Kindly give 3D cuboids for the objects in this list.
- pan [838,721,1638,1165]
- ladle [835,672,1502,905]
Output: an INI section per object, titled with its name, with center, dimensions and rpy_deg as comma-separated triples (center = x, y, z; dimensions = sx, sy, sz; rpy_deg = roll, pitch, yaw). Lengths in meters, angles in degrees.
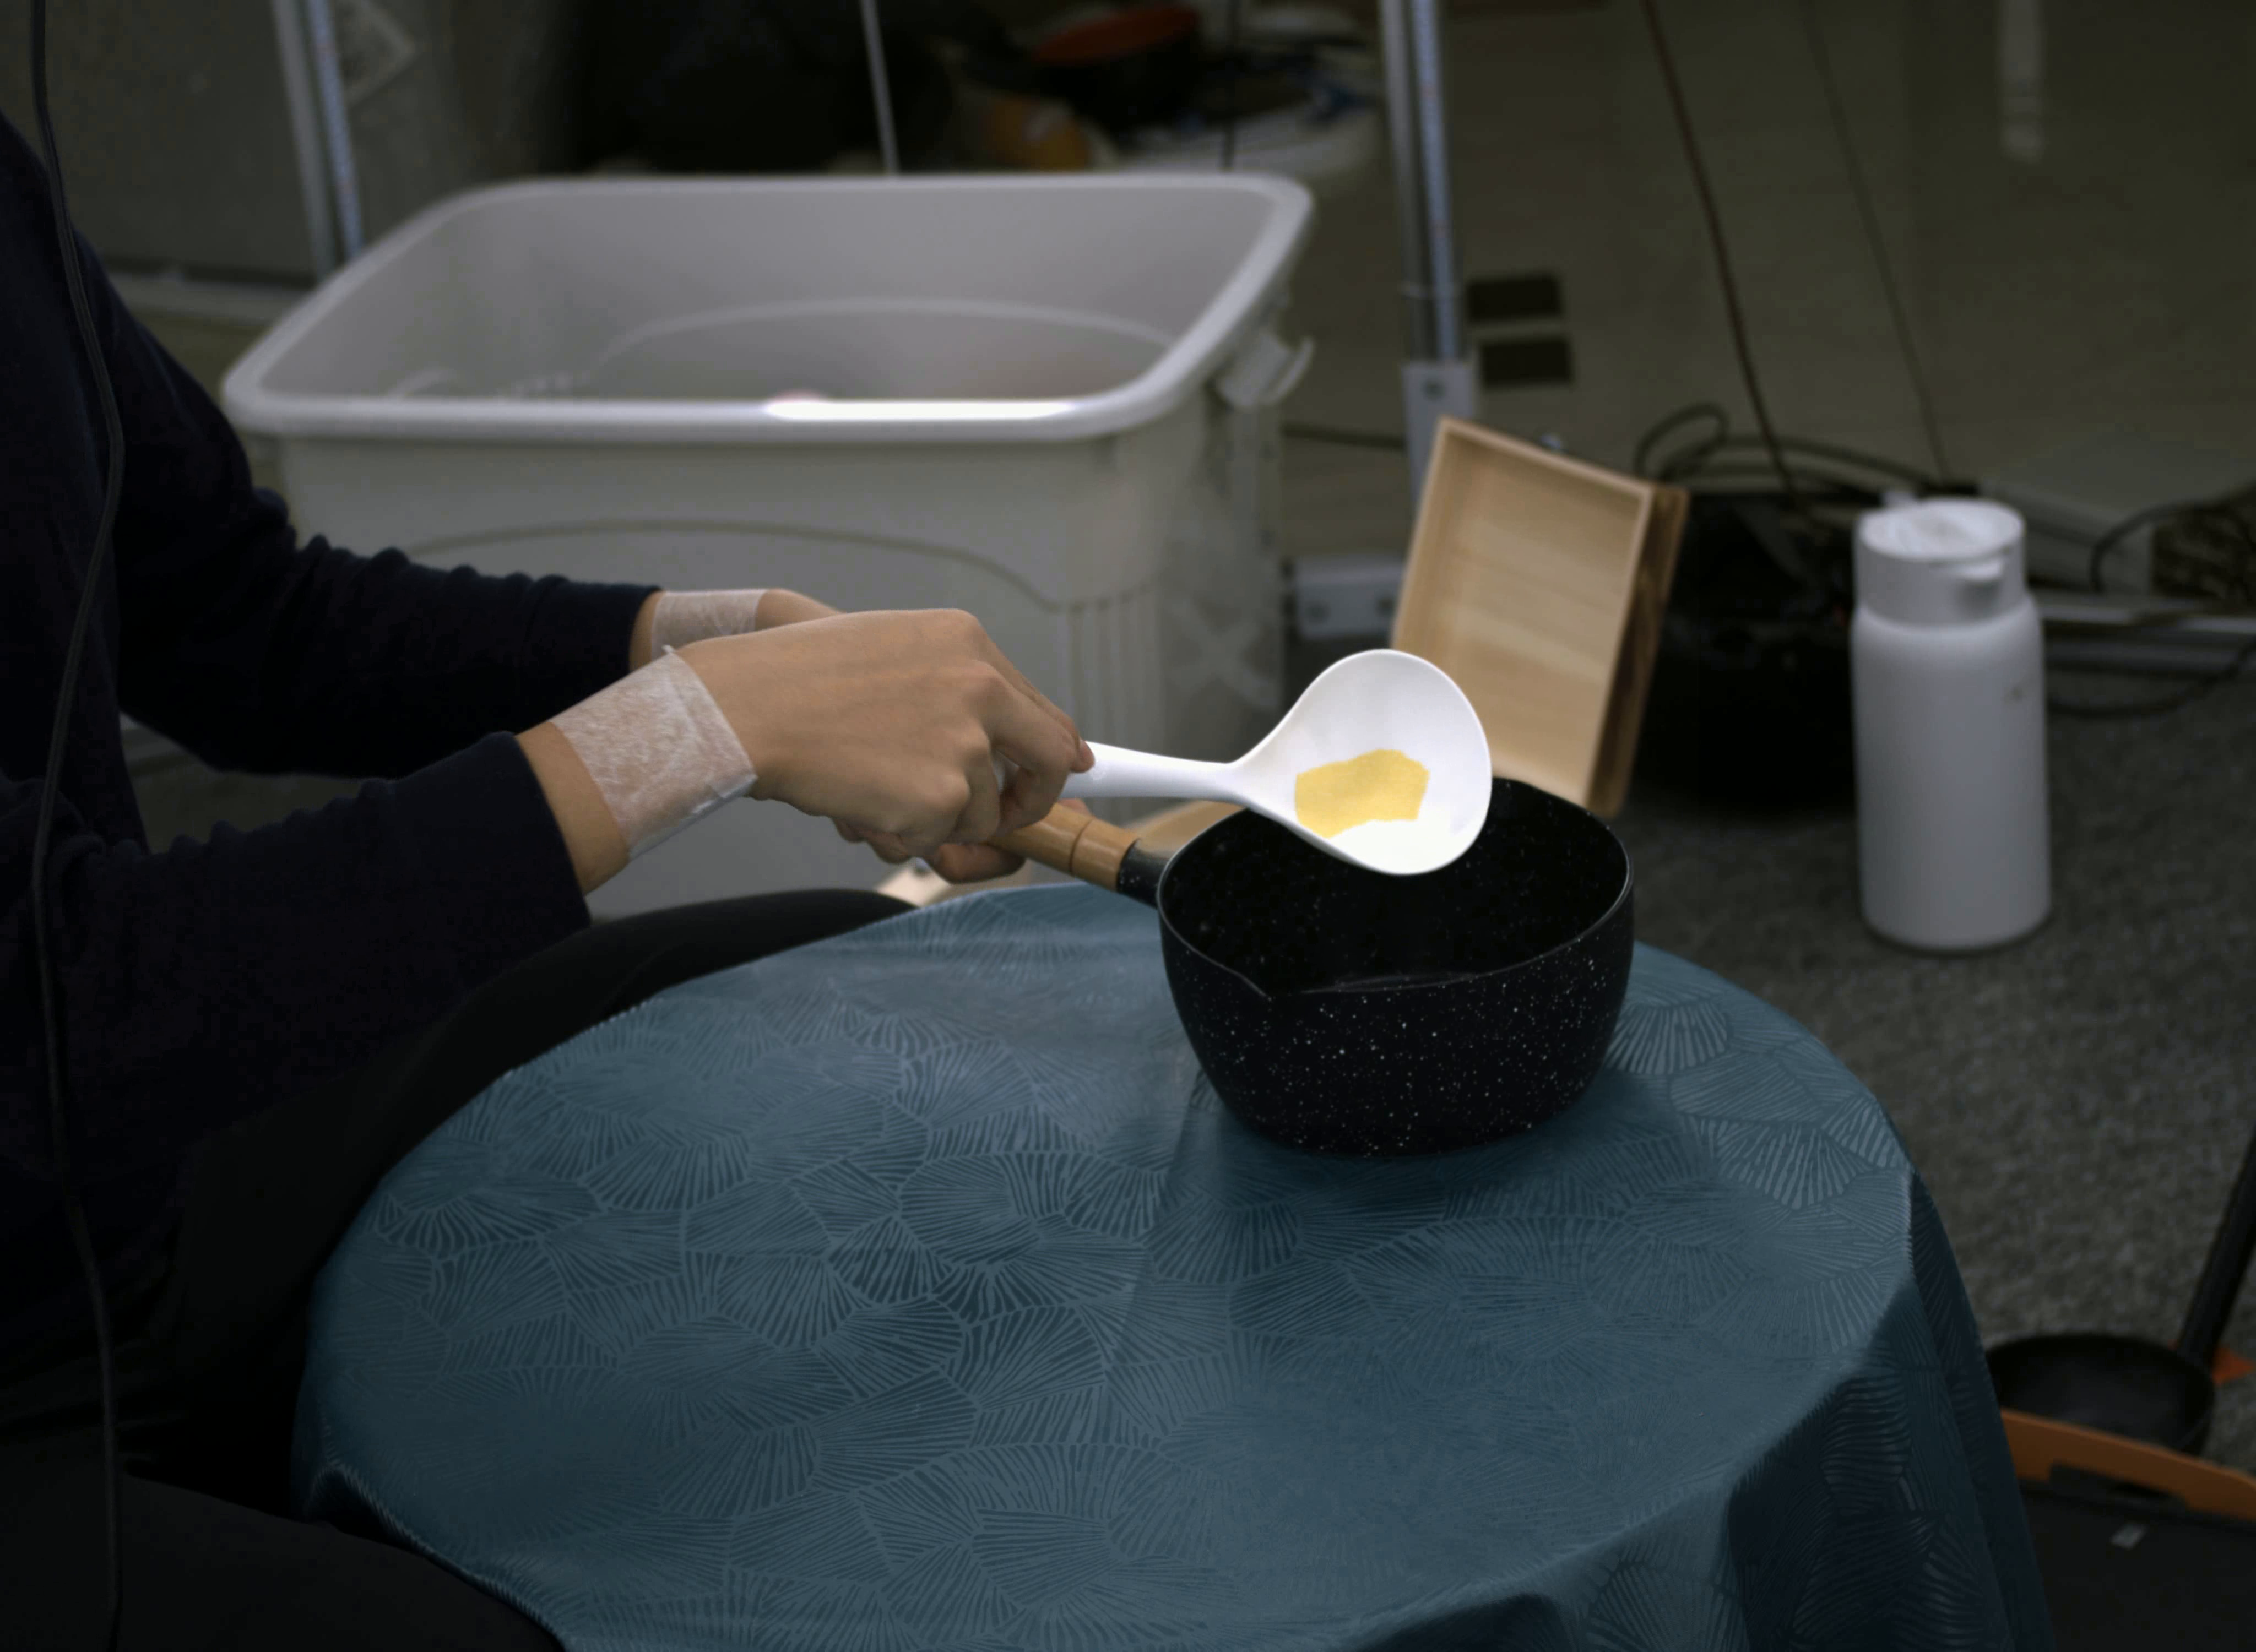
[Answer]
[pan]
center = 0.035, 0.036, 2.223
dimensions = 0.341, 0.110, 0.205
rpy_deg = 10, 31, 27
[ladle]
center = 0.020, -0.019, 2.063
dimensions = 0.070, 0.090, 0.293
rpy_deg = -14, -13, 40
